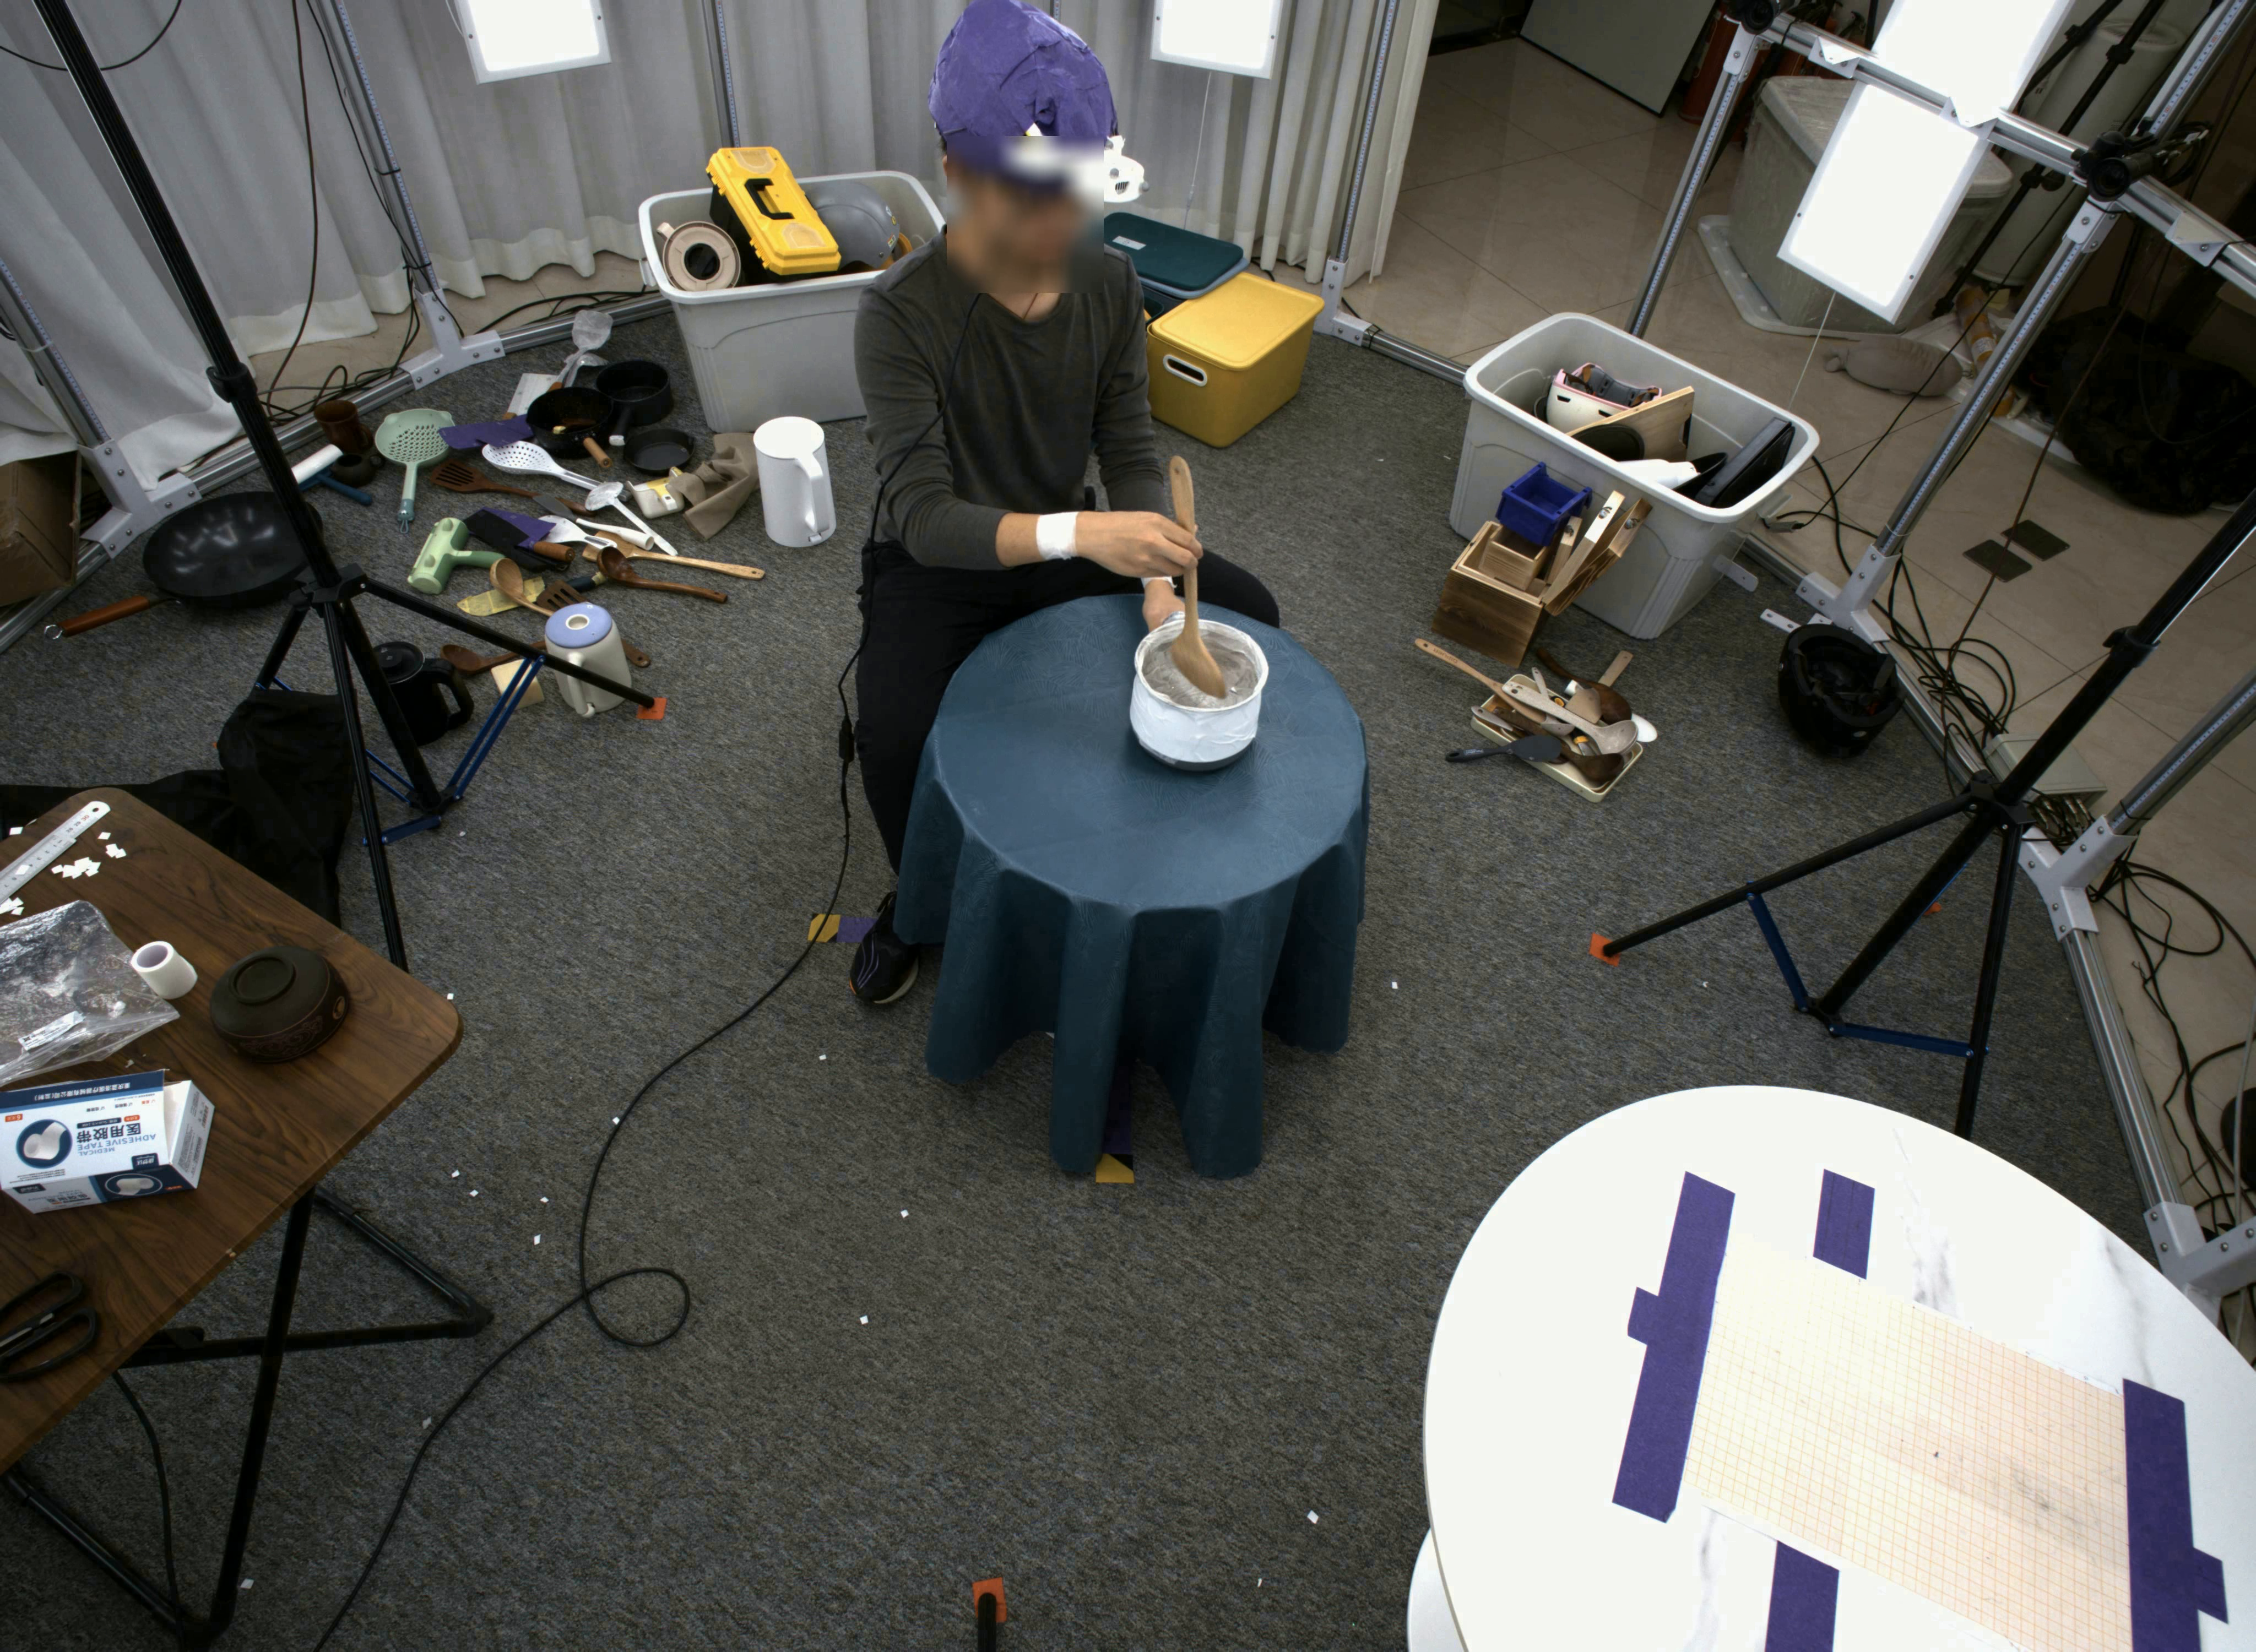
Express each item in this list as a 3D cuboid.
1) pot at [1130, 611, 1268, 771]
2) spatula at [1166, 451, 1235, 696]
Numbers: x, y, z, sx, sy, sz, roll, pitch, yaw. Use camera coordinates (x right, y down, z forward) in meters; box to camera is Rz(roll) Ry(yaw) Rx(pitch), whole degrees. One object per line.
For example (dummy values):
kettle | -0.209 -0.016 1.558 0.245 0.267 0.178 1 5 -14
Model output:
pot | 0.085 -0.194 1.753 0.178 0.133 0.239 -10 51 -13
spatula | 0.081 -0.300 1.596 0.097 0.381 0.019 25 57 25
